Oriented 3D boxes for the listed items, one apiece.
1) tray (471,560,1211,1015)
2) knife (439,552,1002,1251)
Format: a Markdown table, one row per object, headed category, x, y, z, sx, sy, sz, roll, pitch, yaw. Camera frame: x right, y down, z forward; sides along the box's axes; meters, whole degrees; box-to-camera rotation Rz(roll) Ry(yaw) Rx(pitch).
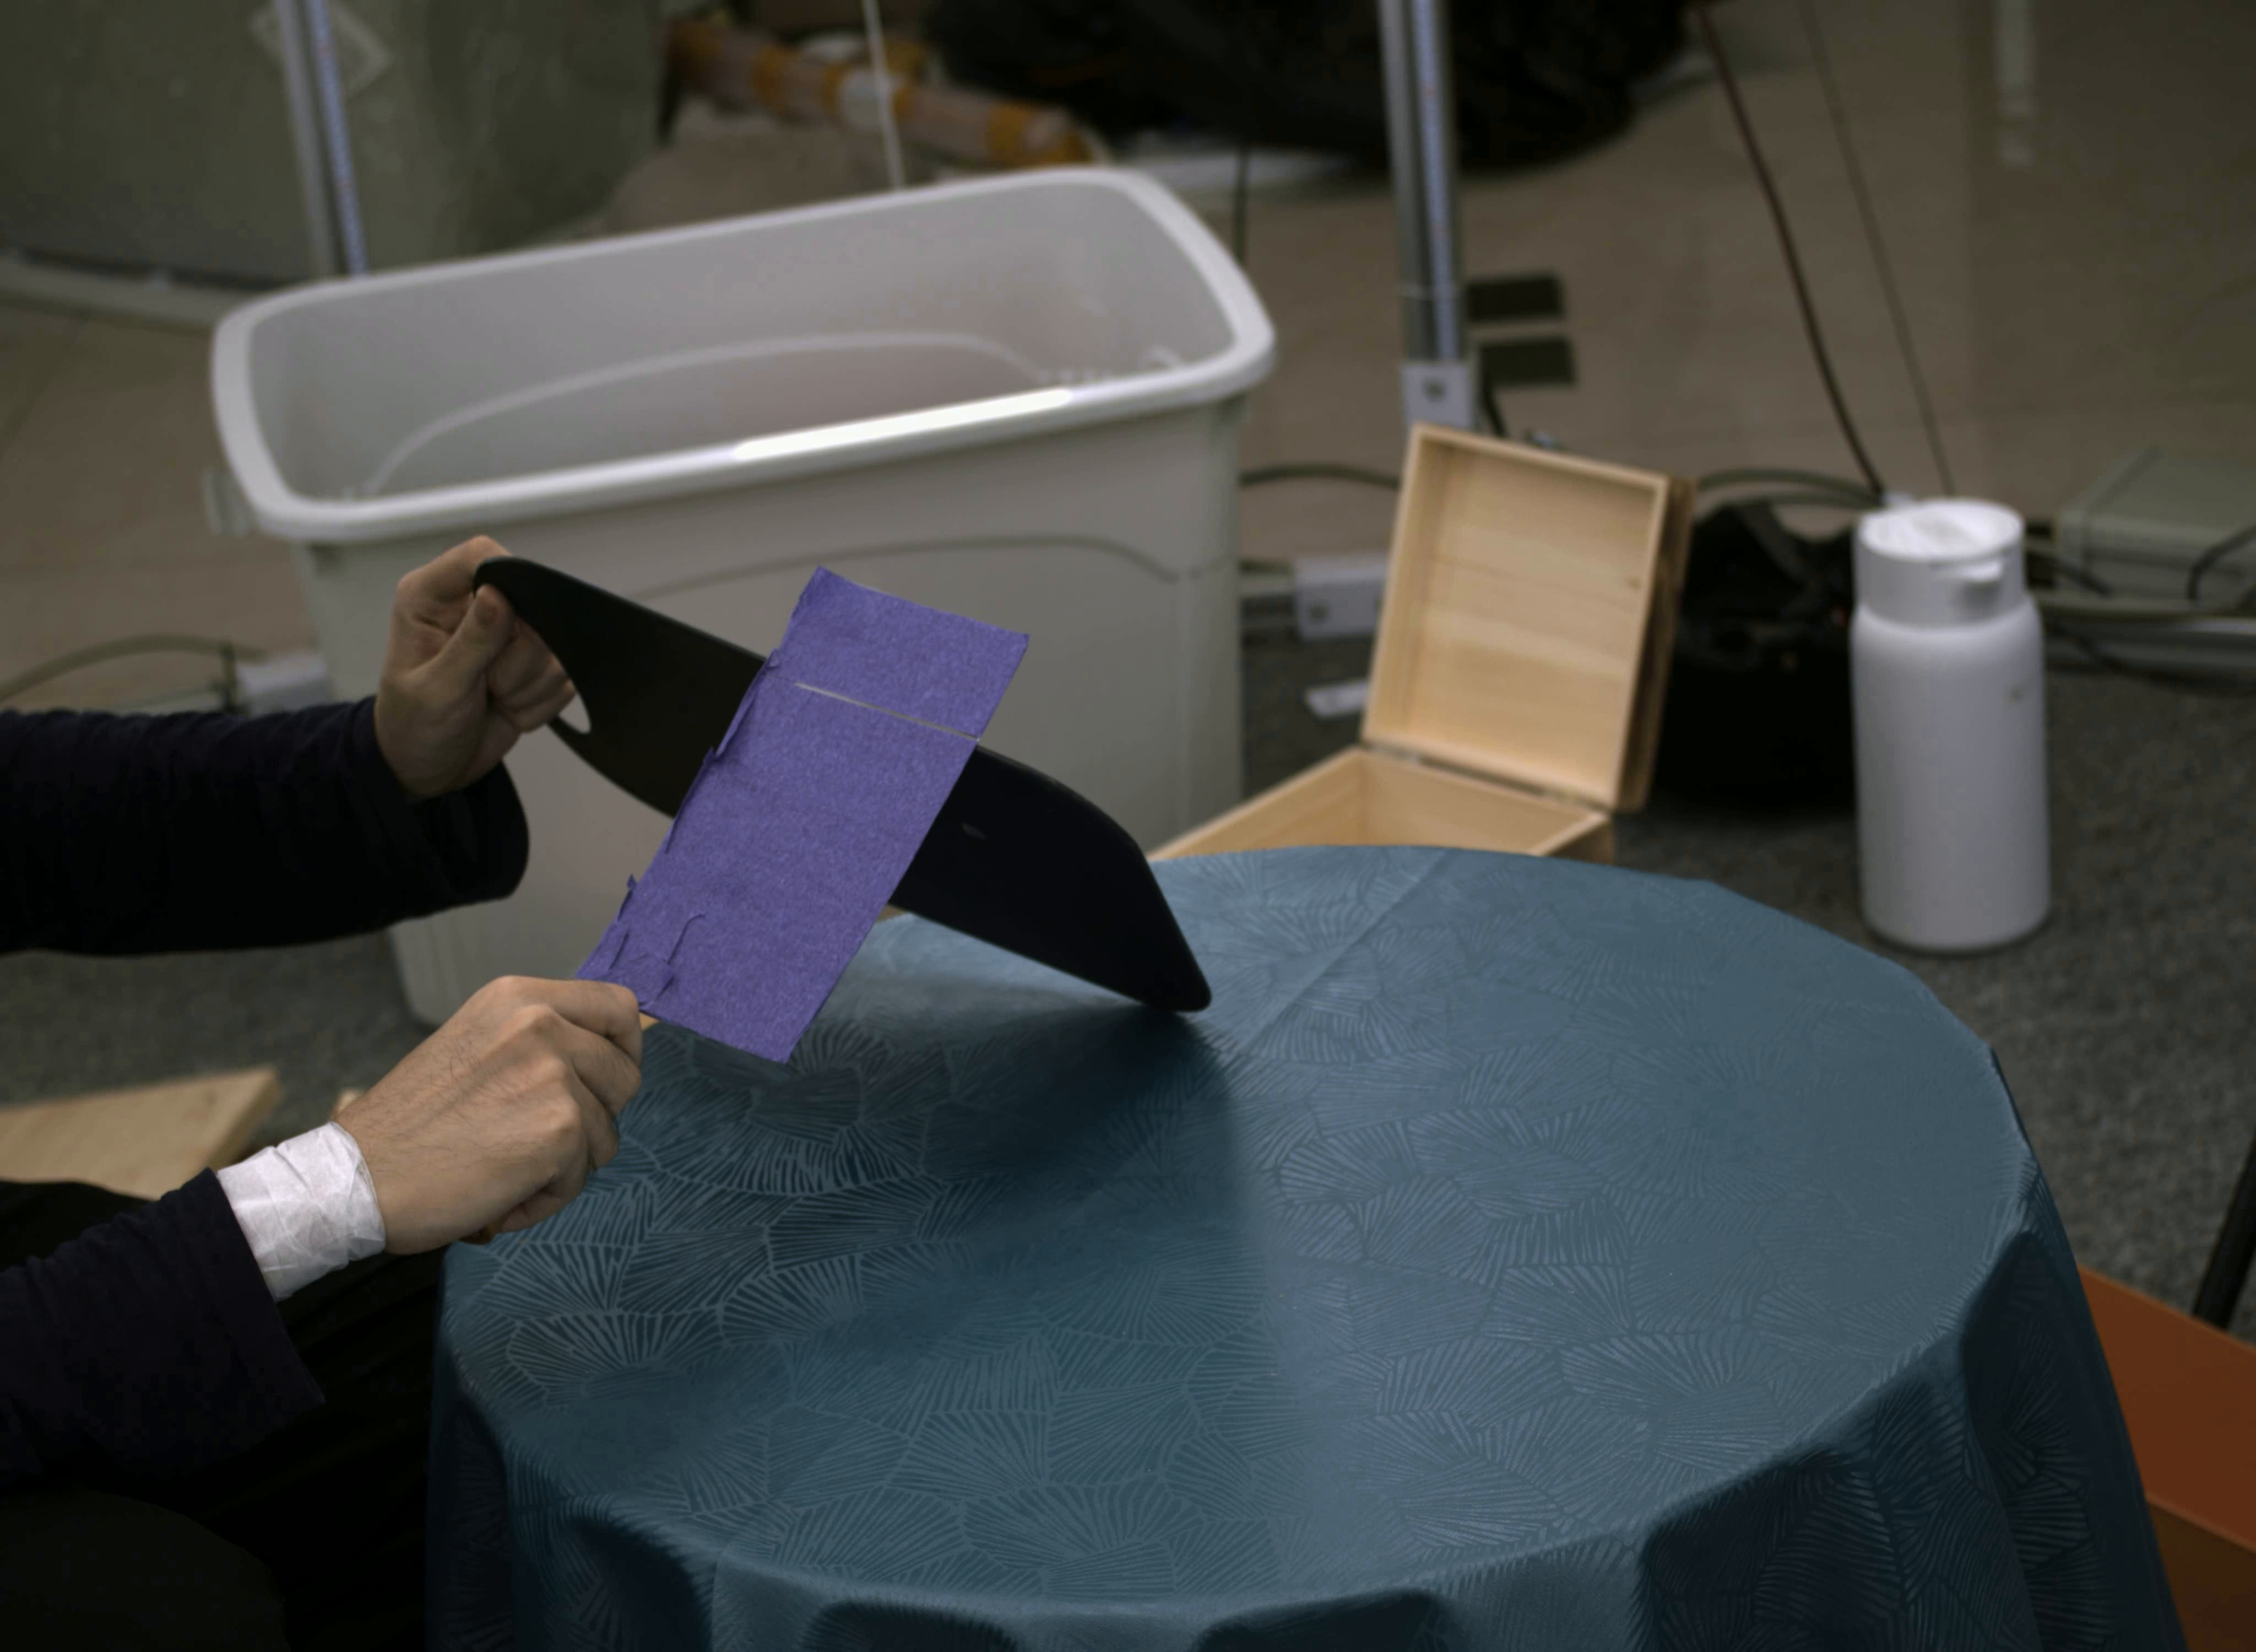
| category | x | y | z | sx | sy | sz | roll | pitch | yaw |
| --- | --- | --- | --- | --- | --- | --- | --- | --- | --- |
| tray | -0.119 | -0.019 | 2.247 | 0.323 | 0.214 | 0.010 | 22 | 70 | 23 |
| knife | -0.144 | 0.030 | 2.081 | 0.103 | 0.033 | 0.311 | 19 | 63 | 18 |
